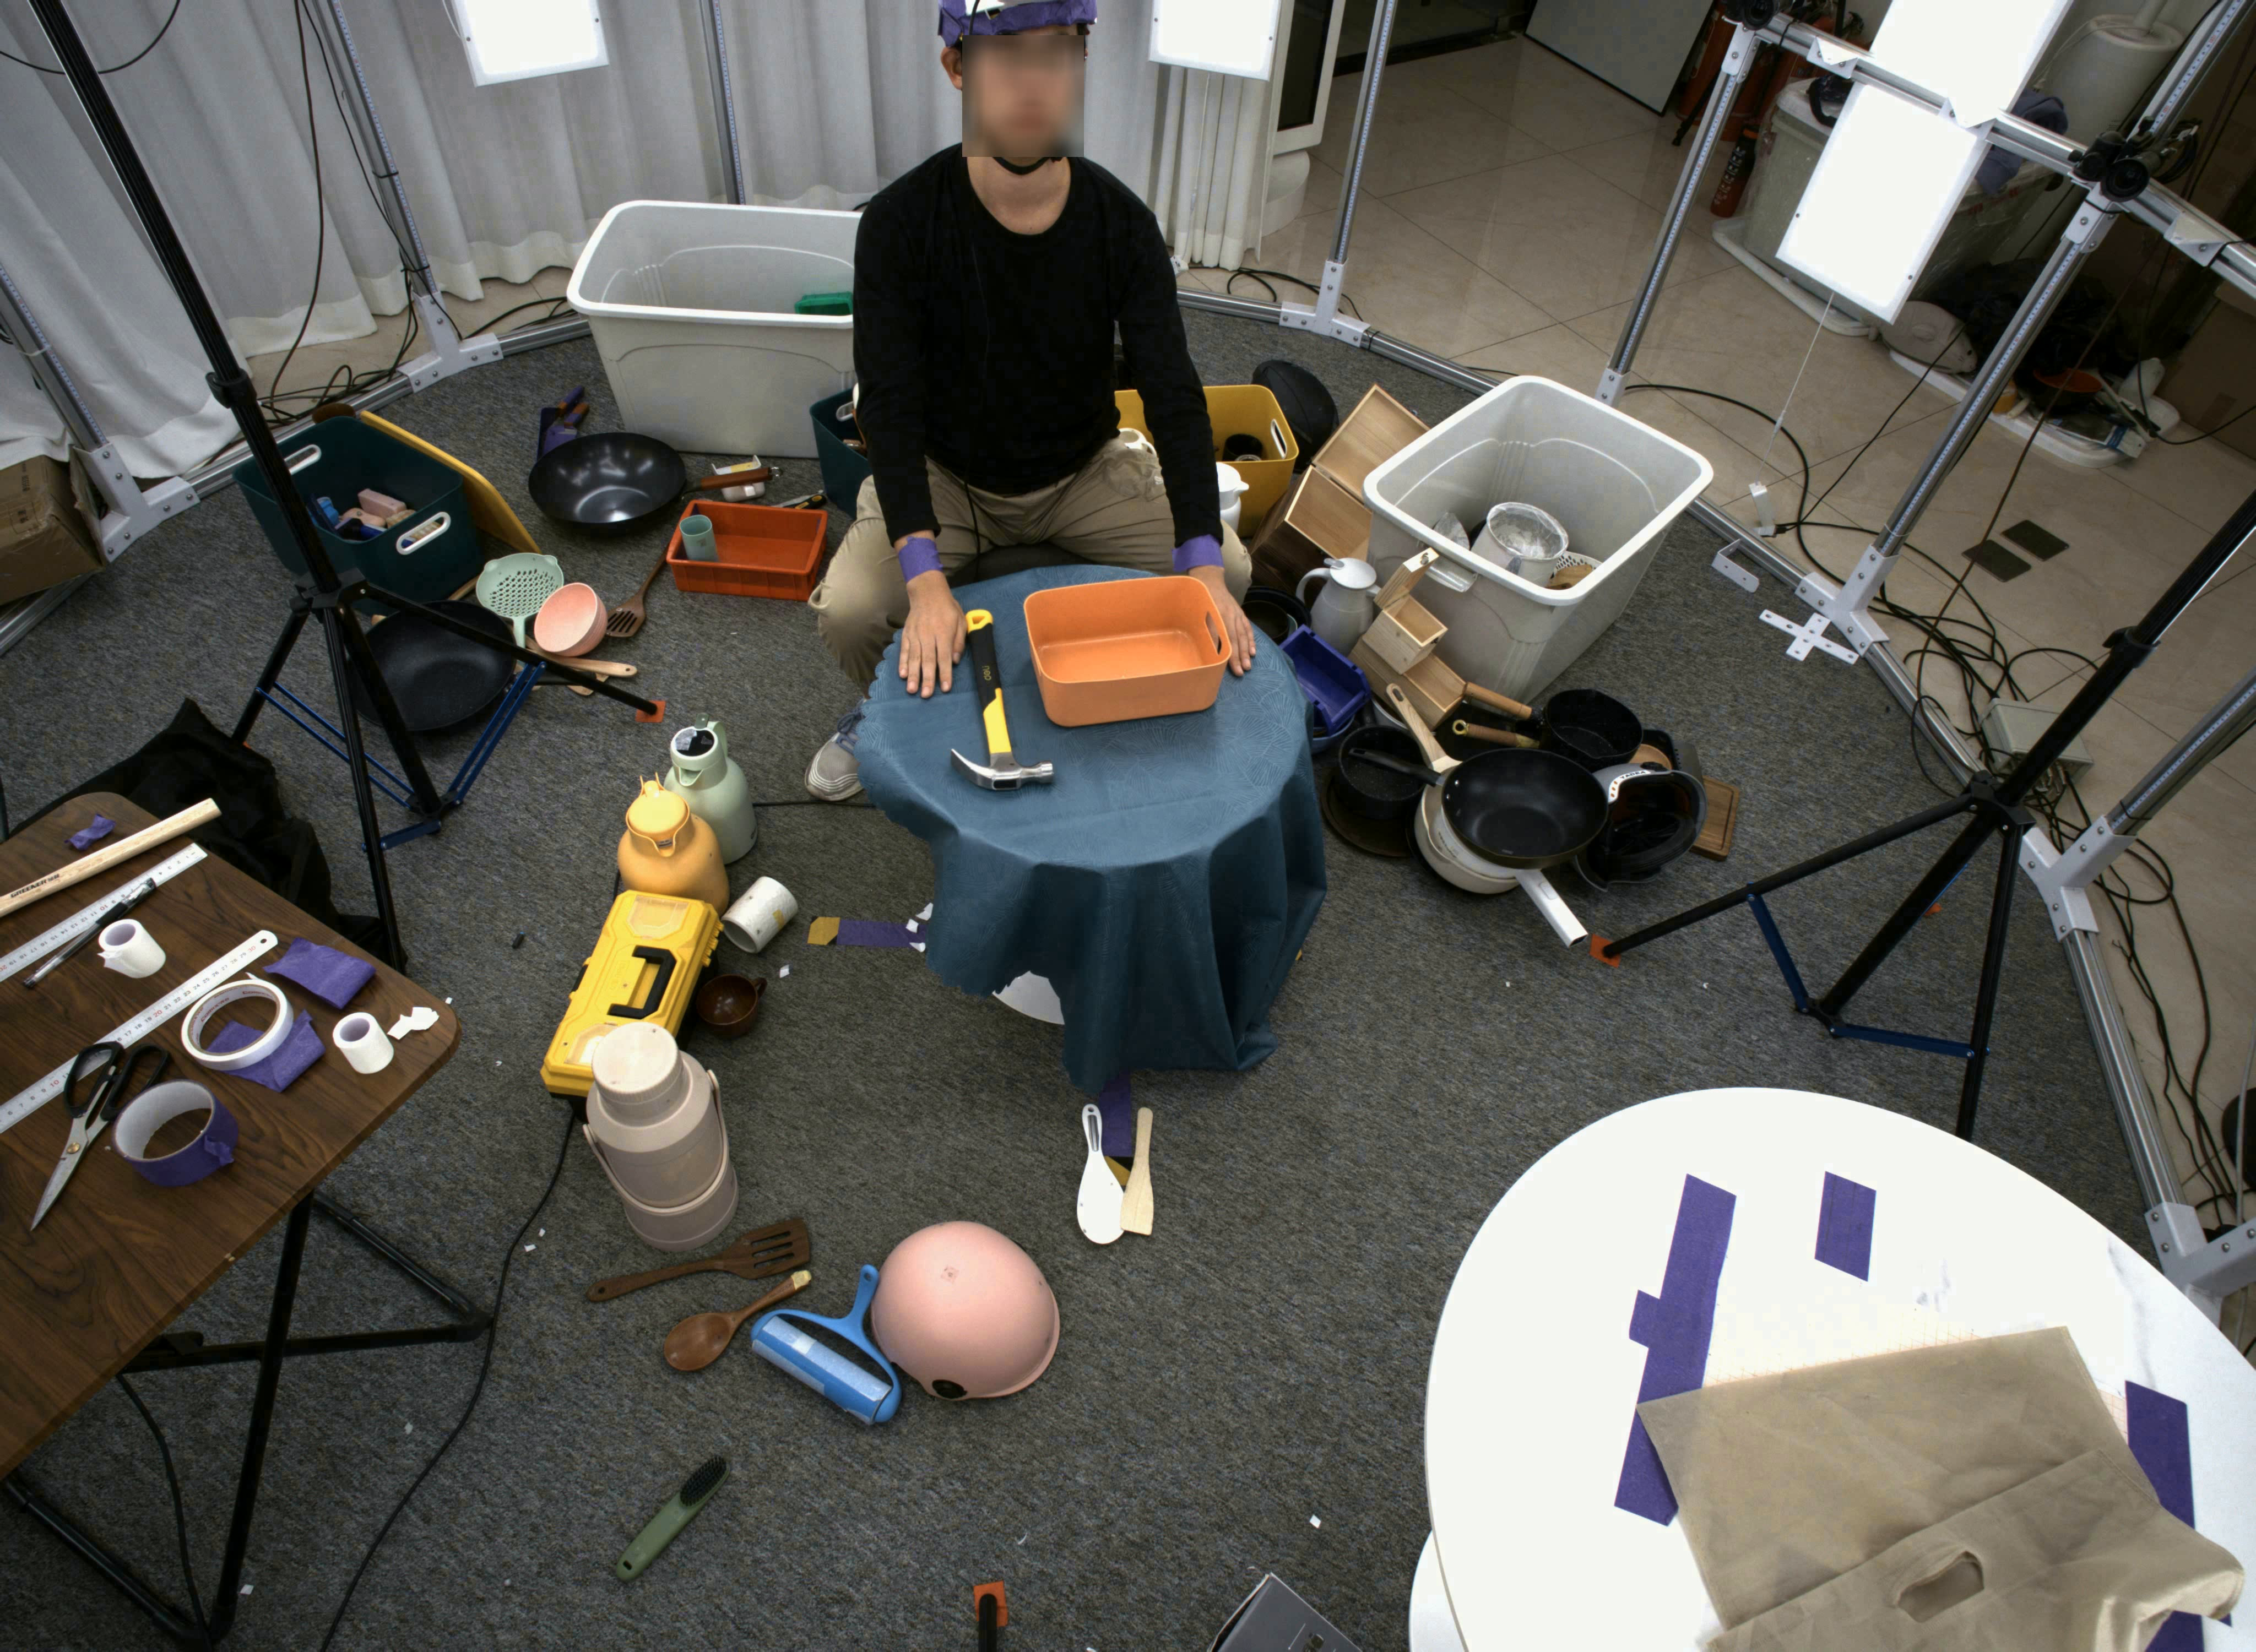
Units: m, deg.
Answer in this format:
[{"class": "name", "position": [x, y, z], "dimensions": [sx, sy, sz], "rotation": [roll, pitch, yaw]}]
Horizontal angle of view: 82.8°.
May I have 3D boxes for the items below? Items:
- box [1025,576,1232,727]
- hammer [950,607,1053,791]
[{"class": "box", "position": [-0.004, -0.245, 1.815], "dimensions": [0.273, 0.100, 0.204], "rotation": [-8, 50, -11]}, {"class": "hammer", "position": [-0.190, -0.186, 1.795], "dimensions": [0.131, 0.031, 0.347], "rotation": [-5, 51, -8]}]
